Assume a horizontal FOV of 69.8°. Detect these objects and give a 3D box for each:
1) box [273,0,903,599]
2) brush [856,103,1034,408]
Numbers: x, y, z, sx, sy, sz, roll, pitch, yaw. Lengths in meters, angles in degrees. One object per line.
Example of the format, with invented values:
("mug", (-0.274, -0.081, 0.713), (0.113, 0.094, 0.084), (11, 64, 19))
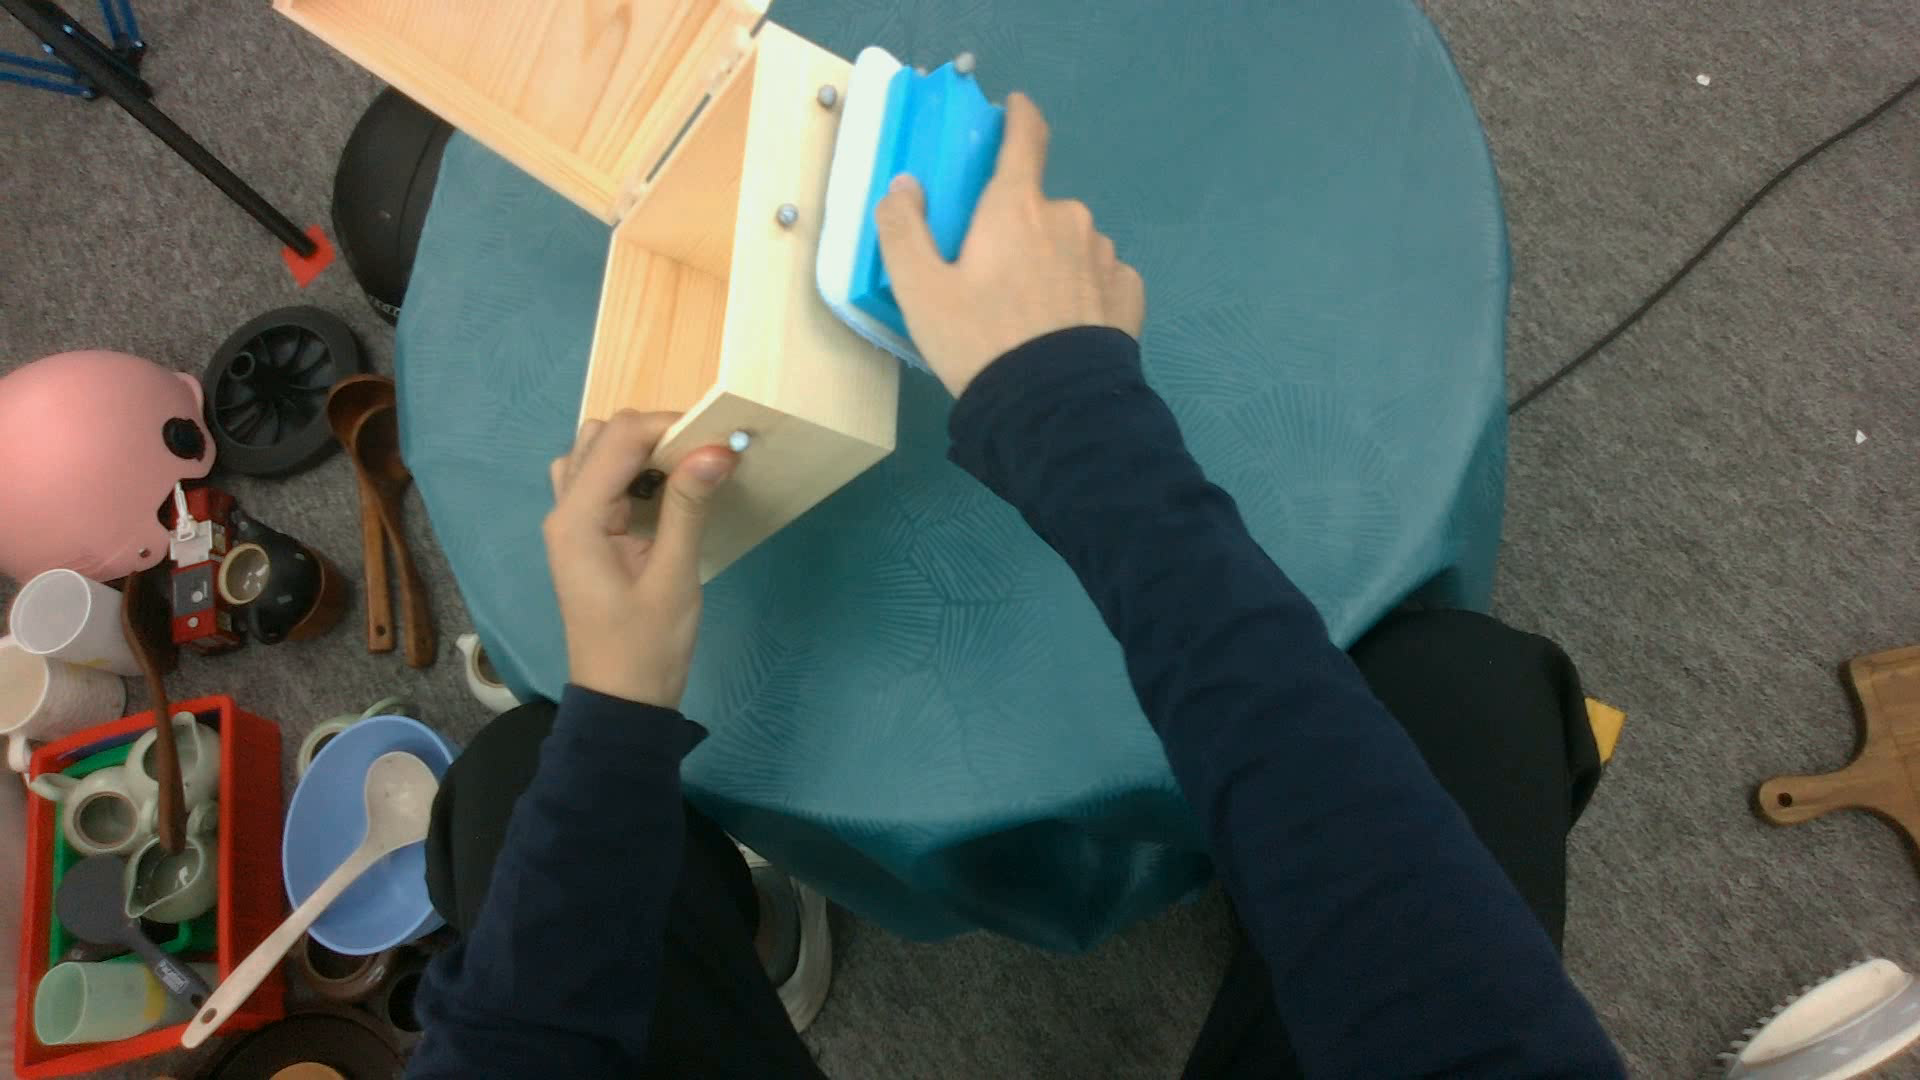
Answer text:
("box", (-0.177, -0.144, 0.614), (0.181, 0.253, 0.266), (-31, 50, 46))
("brush", (0.001, -0.130, 0.600), (0.084, 0.055, 0.144), (13, 59, -27))
